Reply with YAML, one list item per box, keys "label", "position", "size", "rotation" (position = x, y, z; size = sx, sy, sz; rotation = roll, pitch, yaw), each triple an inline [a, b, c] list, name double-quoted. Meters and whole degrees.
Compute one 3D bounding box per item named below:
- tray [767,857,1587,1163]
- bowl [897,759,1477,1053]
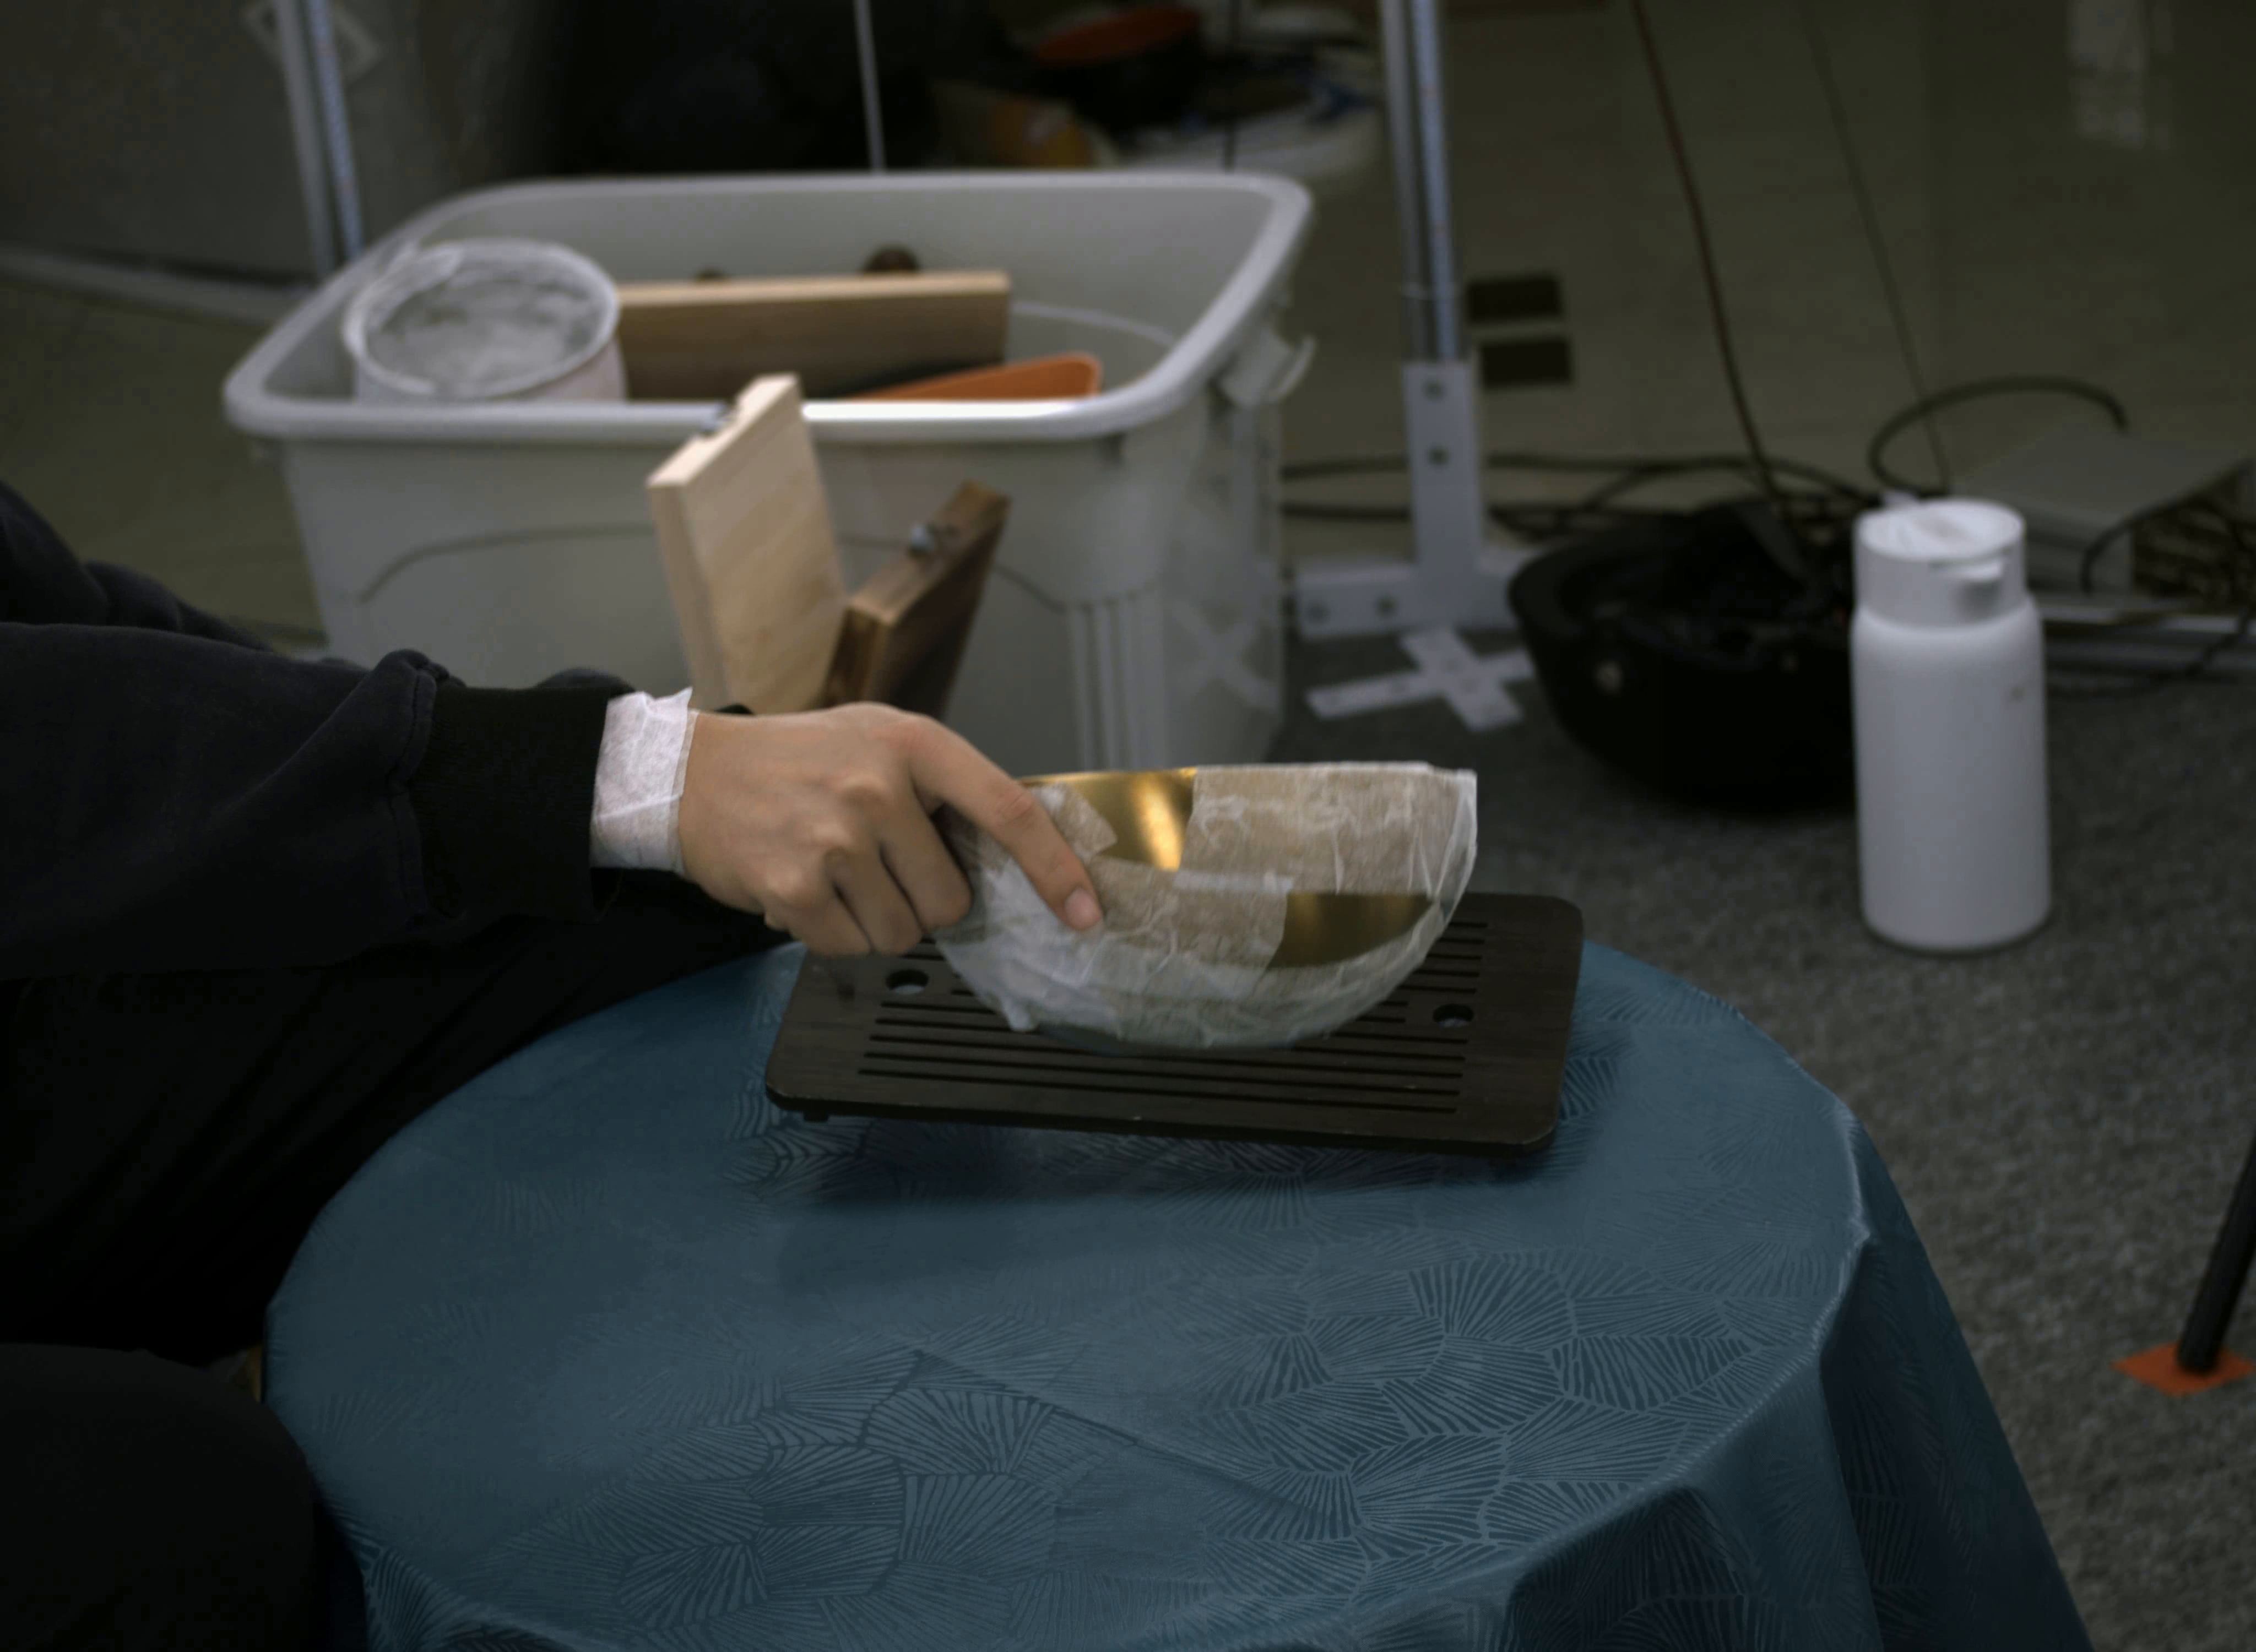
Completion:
- label: "tray"
  position: [0.022, 0.072, 2.217]
  size: [0.305, 0.019, 0.167]
  rotation: [3, 33, 8]
- label: "bowl"
  position: [0.021, 0.030, 1.965]
  size: [0.214, 0.094, 0.215]
  rotation: [-4, -3, 0]
